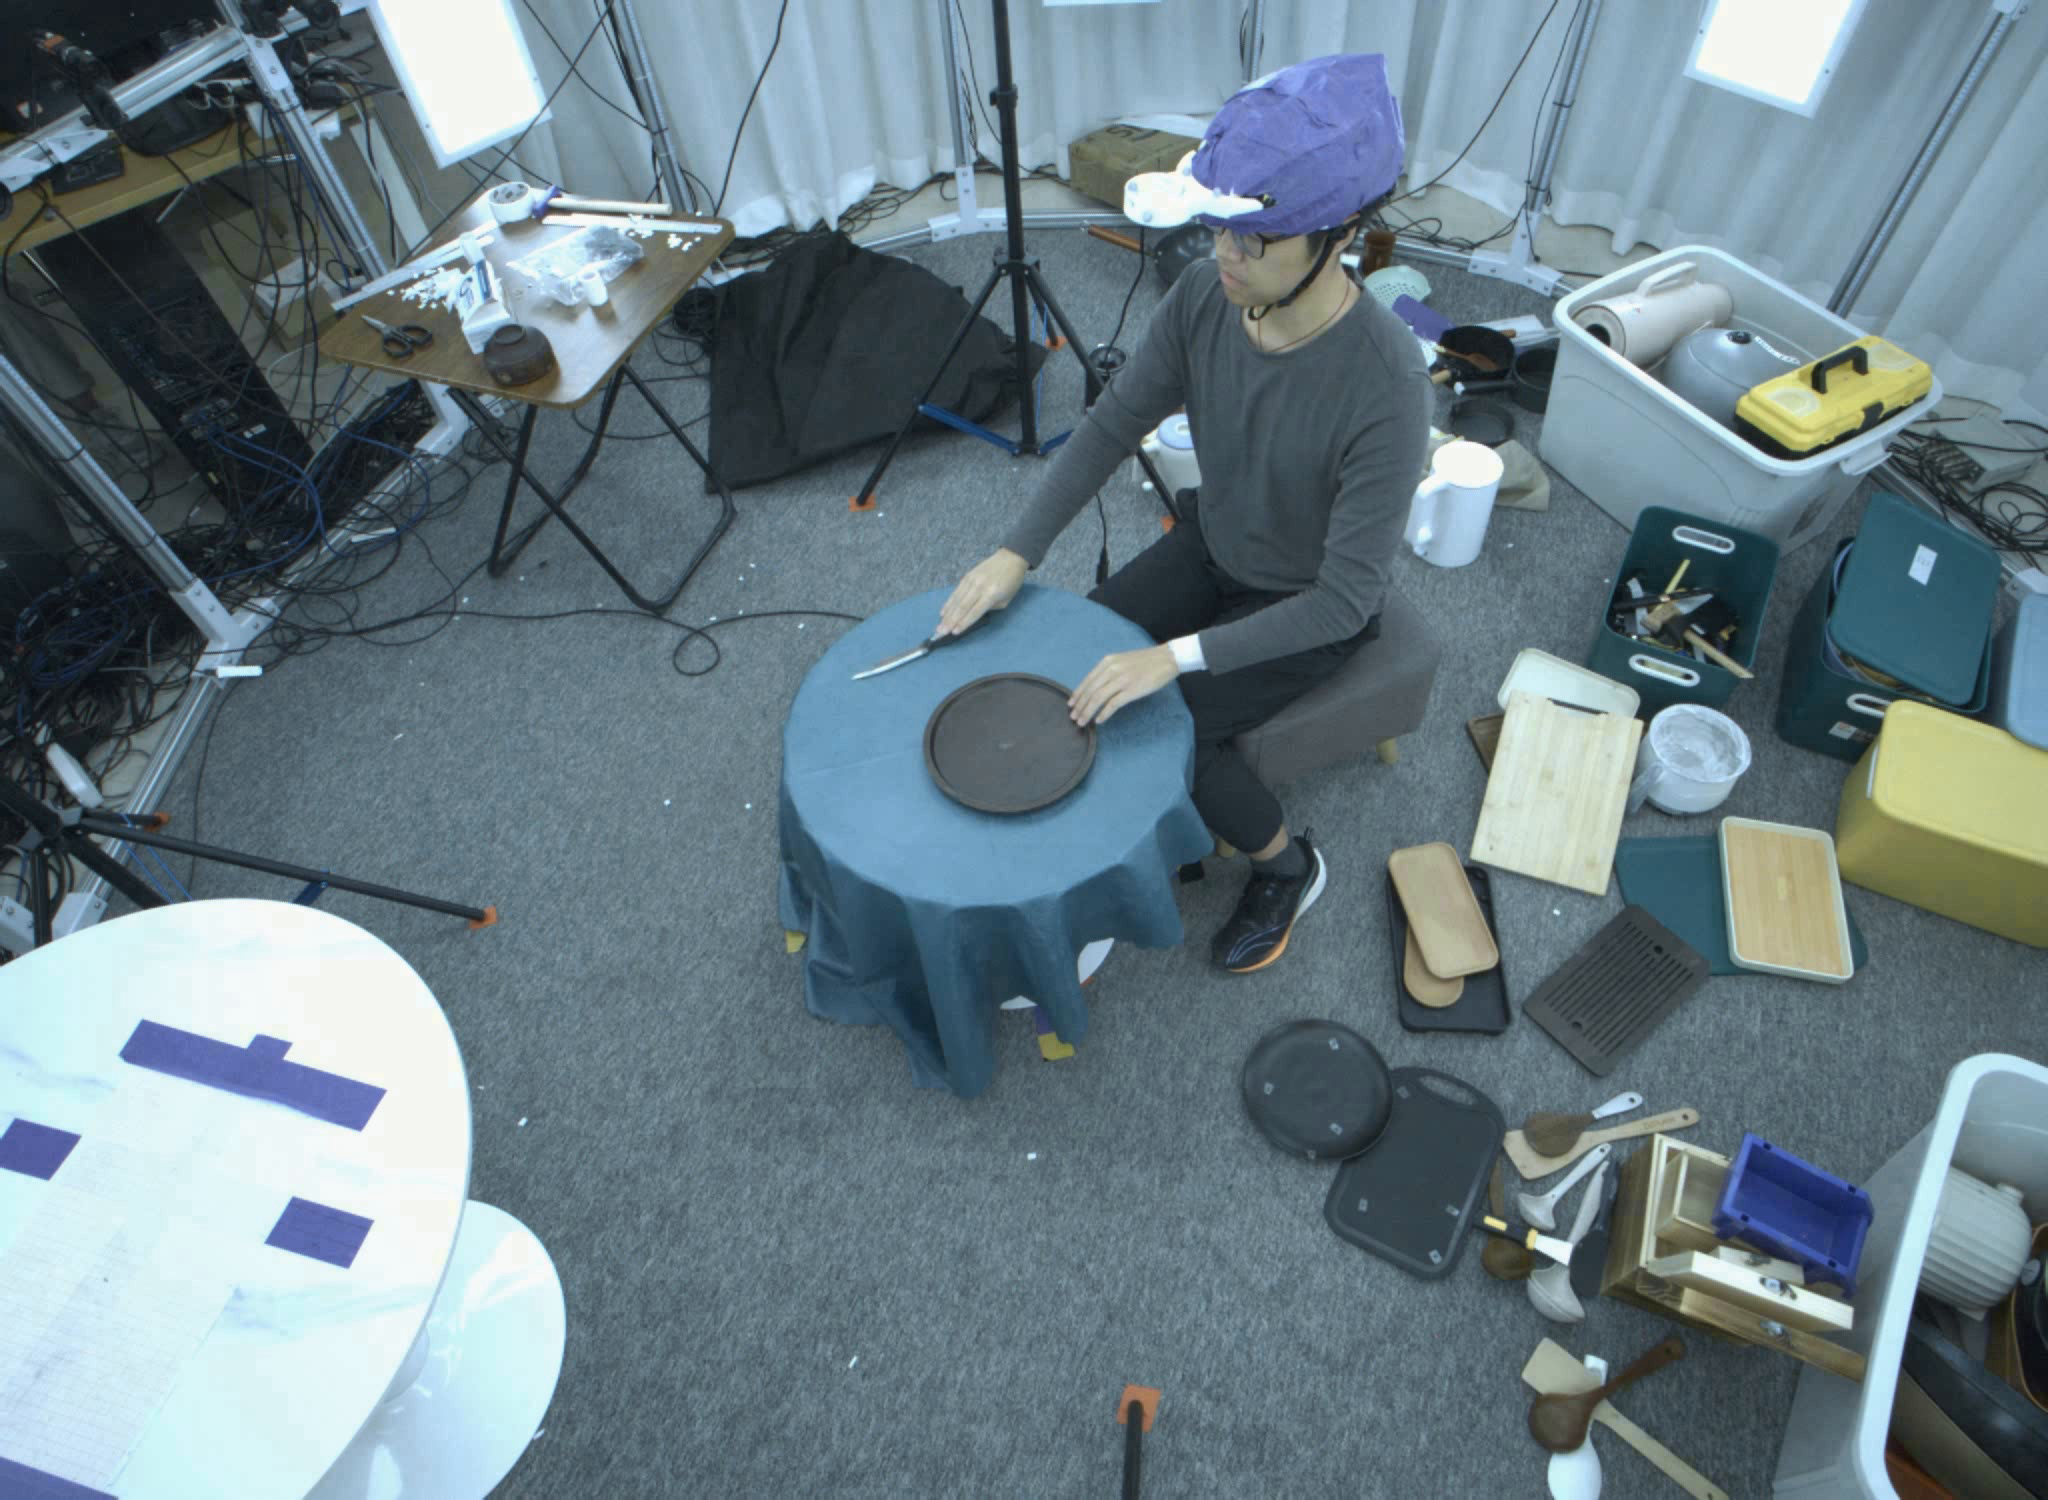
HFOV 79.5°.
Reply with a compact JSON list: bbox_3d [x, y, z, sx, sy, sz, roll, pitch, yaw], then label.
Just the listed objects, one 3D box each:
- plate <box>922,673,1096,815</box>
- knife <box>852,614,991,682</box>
[{"bbox_3d":[-0.022,-0.010,1.789,0.254,0.029,0.252,0,56,2],"label":"plate"},{"bbox_3d":[-0.161,-0.159,1.905,0.240,0.016,0.024,-26,61,-14],"label":"knife"}]
